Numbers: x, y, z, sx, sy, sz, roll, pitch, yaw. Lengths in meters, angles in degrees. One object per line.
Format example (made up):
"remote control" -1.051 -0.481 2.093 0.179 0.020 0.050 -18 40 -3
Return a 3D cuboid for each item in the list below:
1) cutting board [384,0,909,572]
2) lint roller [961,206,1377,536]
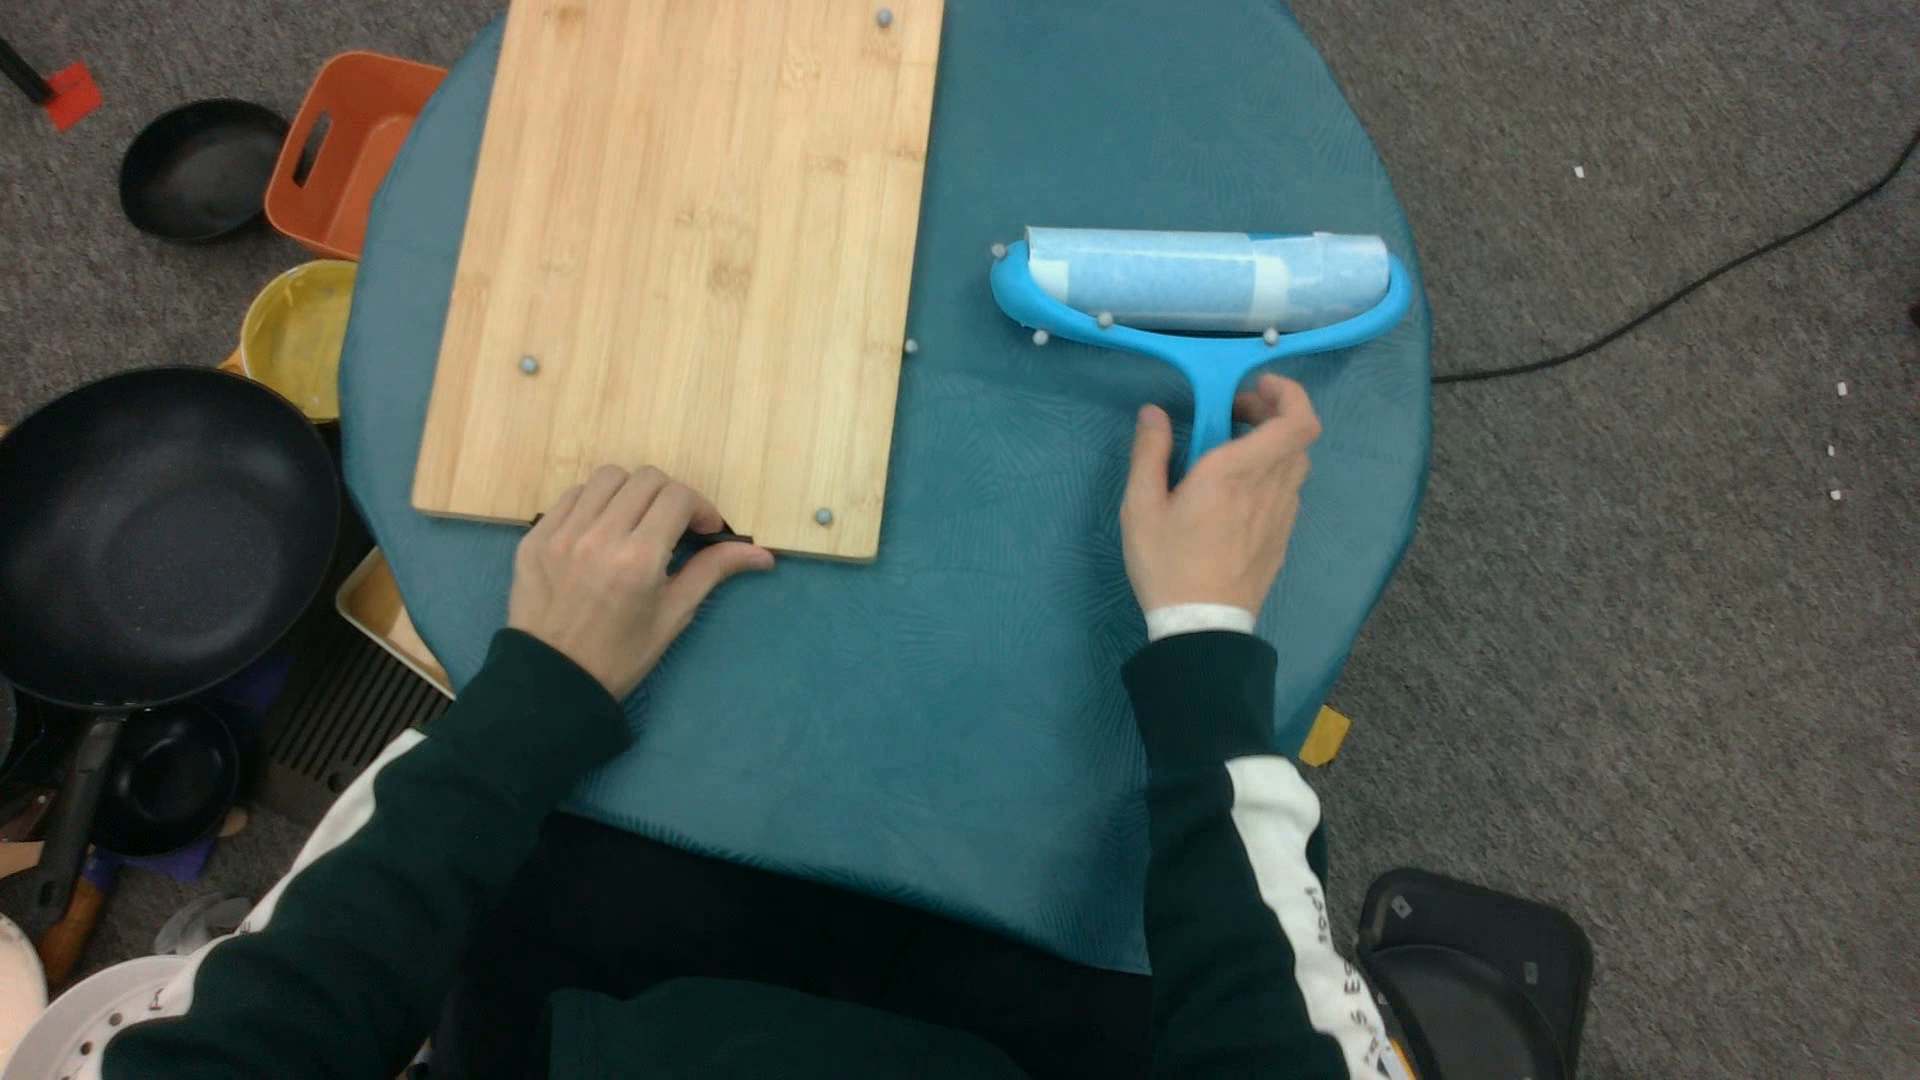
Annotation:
"cutting board" -0.162 -0.161 0.756 0.251 0.023 0.349 4 77 -3
"lint roller" 0.120 -0.097 0.743 0.229 0.068 0.180 -4 77 -6
